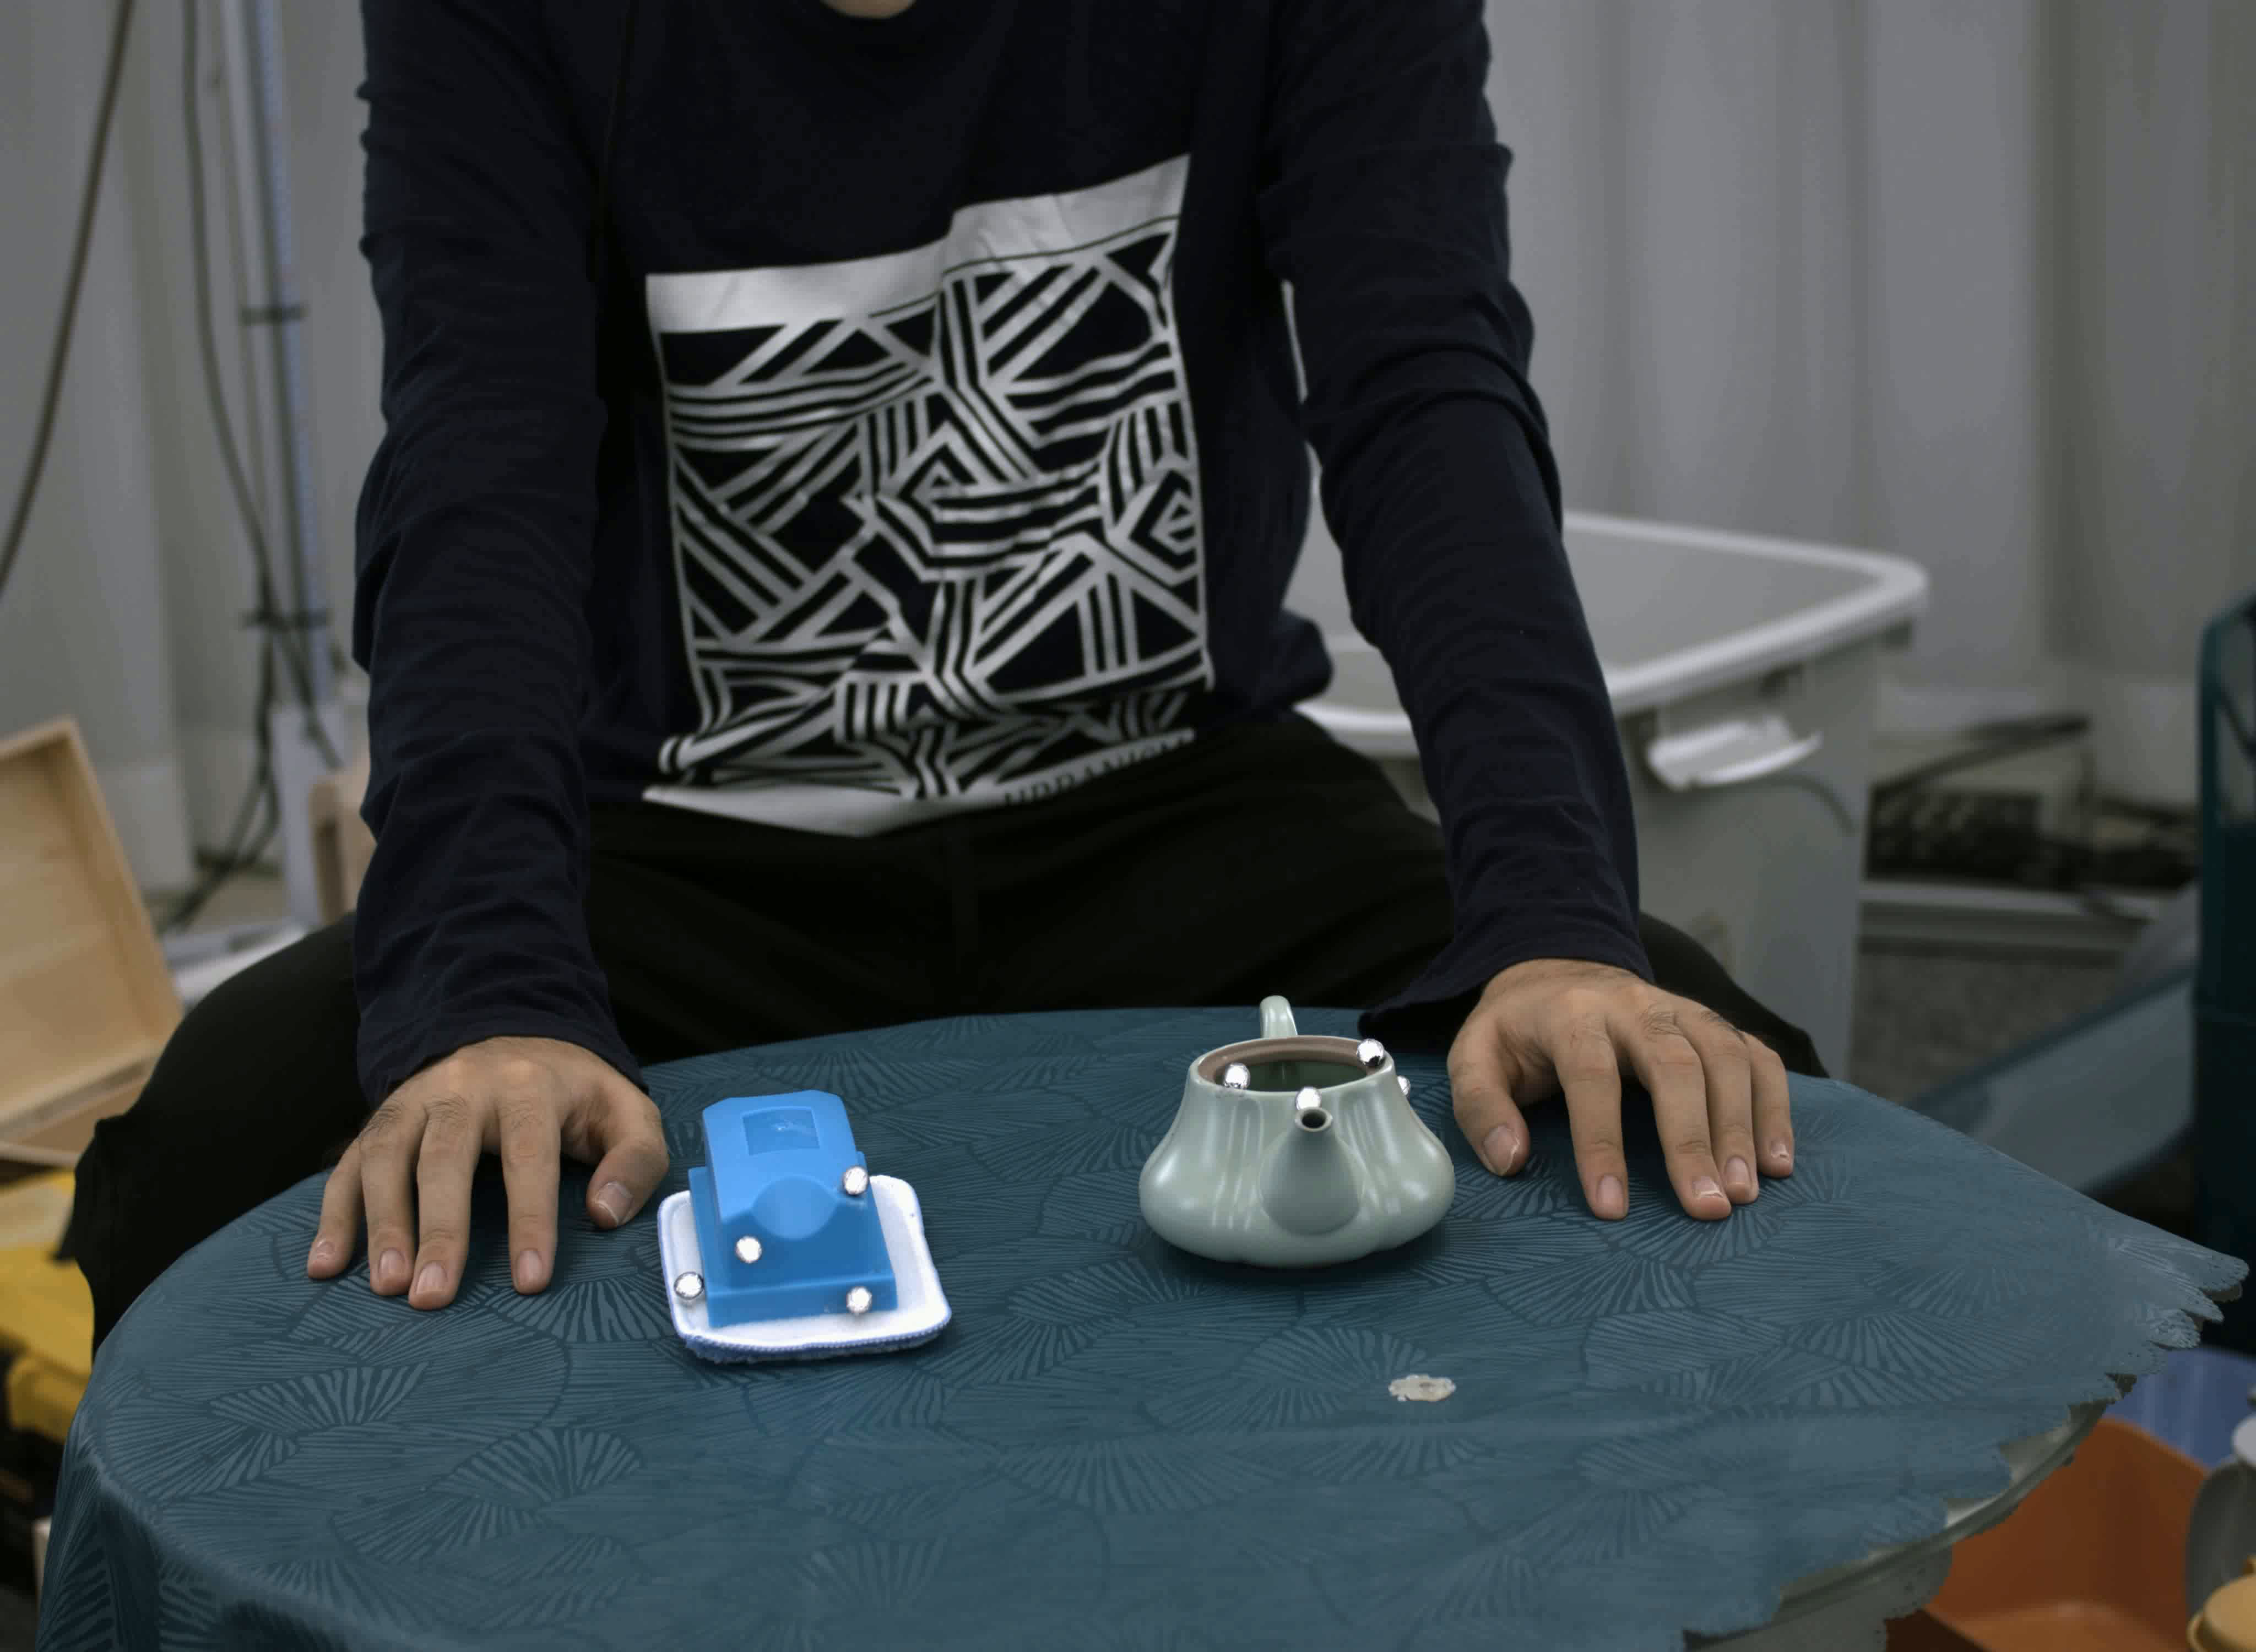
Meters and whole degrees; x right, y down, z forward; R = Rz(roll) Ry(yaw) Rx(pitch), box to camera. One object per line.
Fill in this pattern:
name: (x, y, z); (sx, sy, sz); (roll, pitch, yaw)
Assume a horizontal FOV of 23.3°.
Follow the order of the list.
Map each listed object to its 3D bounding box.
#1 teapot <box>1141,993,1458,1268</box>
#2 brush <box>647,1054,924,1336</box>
teapot: (0.051, 0.096, 1.661); (0.096, 0.061, 0.138); (-6, 16, -4)
brush: (-0.103, 0.108, 1.642); (0.083, 0.055, 0.145); (-1, 17, -5)
